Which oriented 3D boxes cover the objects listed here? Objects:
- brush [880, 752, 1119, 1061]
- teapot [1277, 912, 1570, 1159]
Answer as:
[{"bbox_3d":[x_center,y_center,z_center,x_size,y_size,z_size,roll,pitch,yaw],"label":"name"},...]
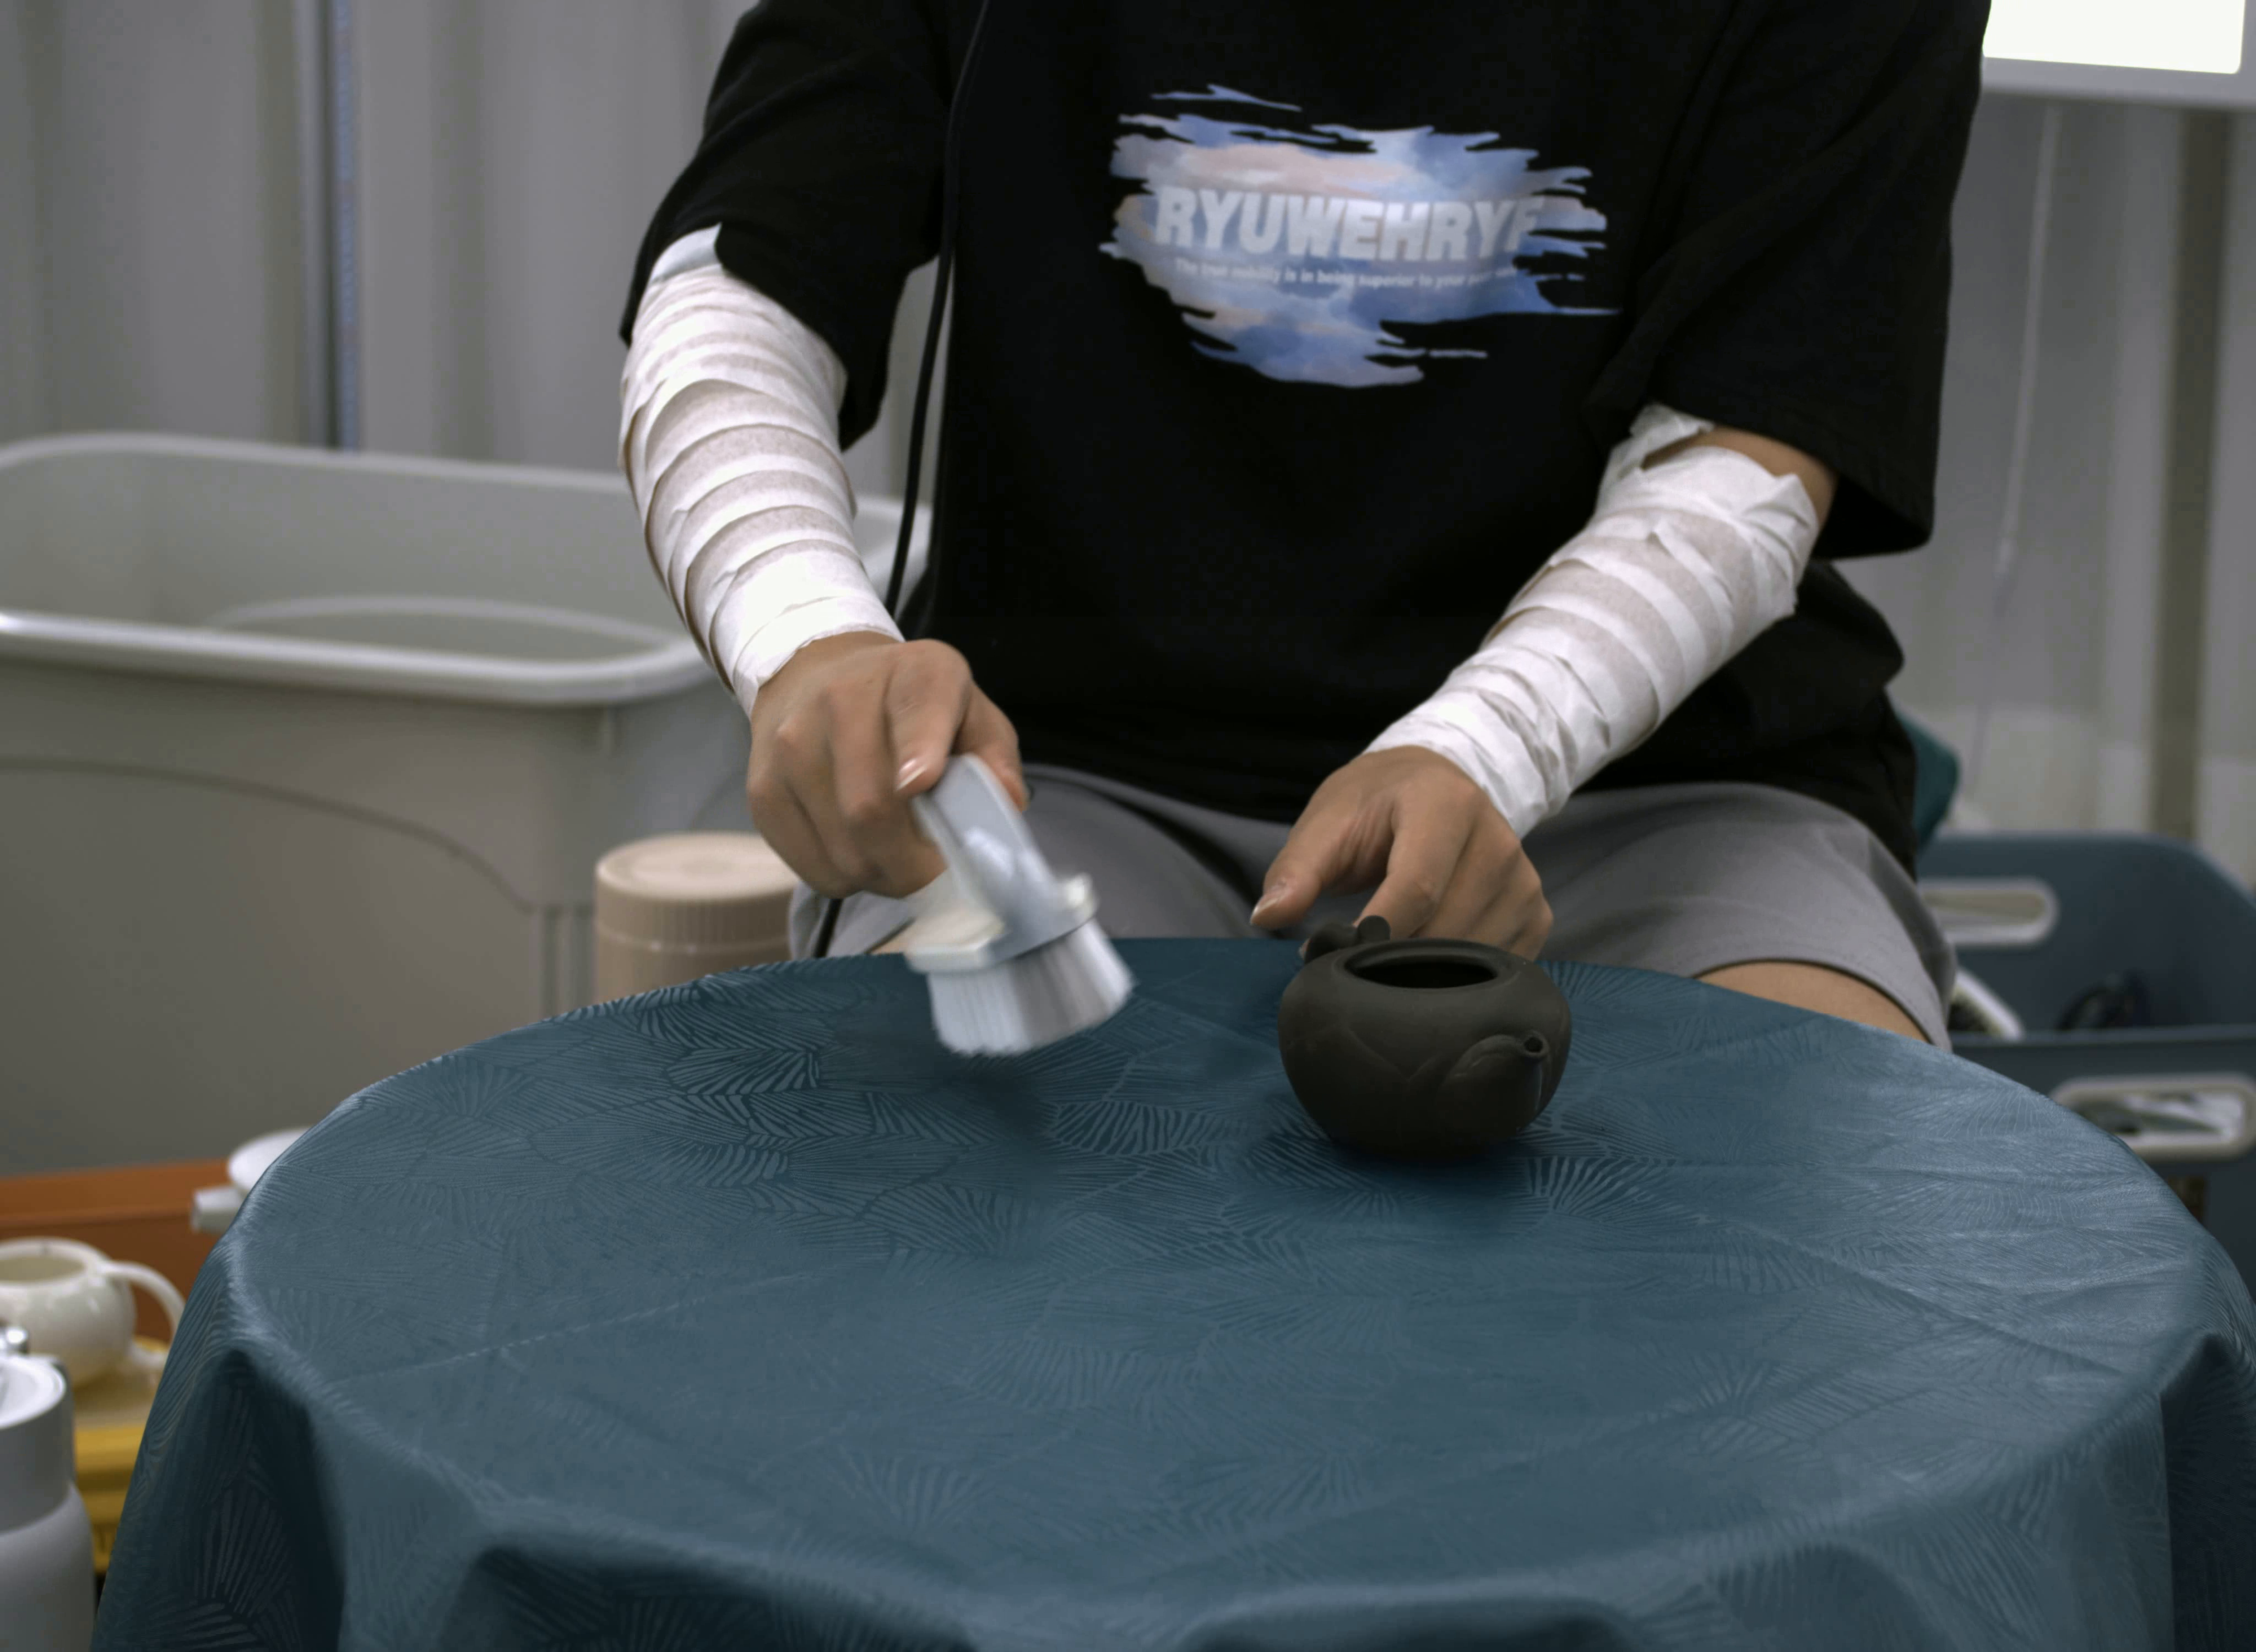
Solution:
[{"bbox_3d":[-0.045,0.022,1.651,0.061,0.095,0.175,-26,8,-4],"label":"brush"},{"bbox_3d":[0.092,0.067,1.670,0.092,0.065,0.152,-6,18,-24],"label":"teapot"}]
